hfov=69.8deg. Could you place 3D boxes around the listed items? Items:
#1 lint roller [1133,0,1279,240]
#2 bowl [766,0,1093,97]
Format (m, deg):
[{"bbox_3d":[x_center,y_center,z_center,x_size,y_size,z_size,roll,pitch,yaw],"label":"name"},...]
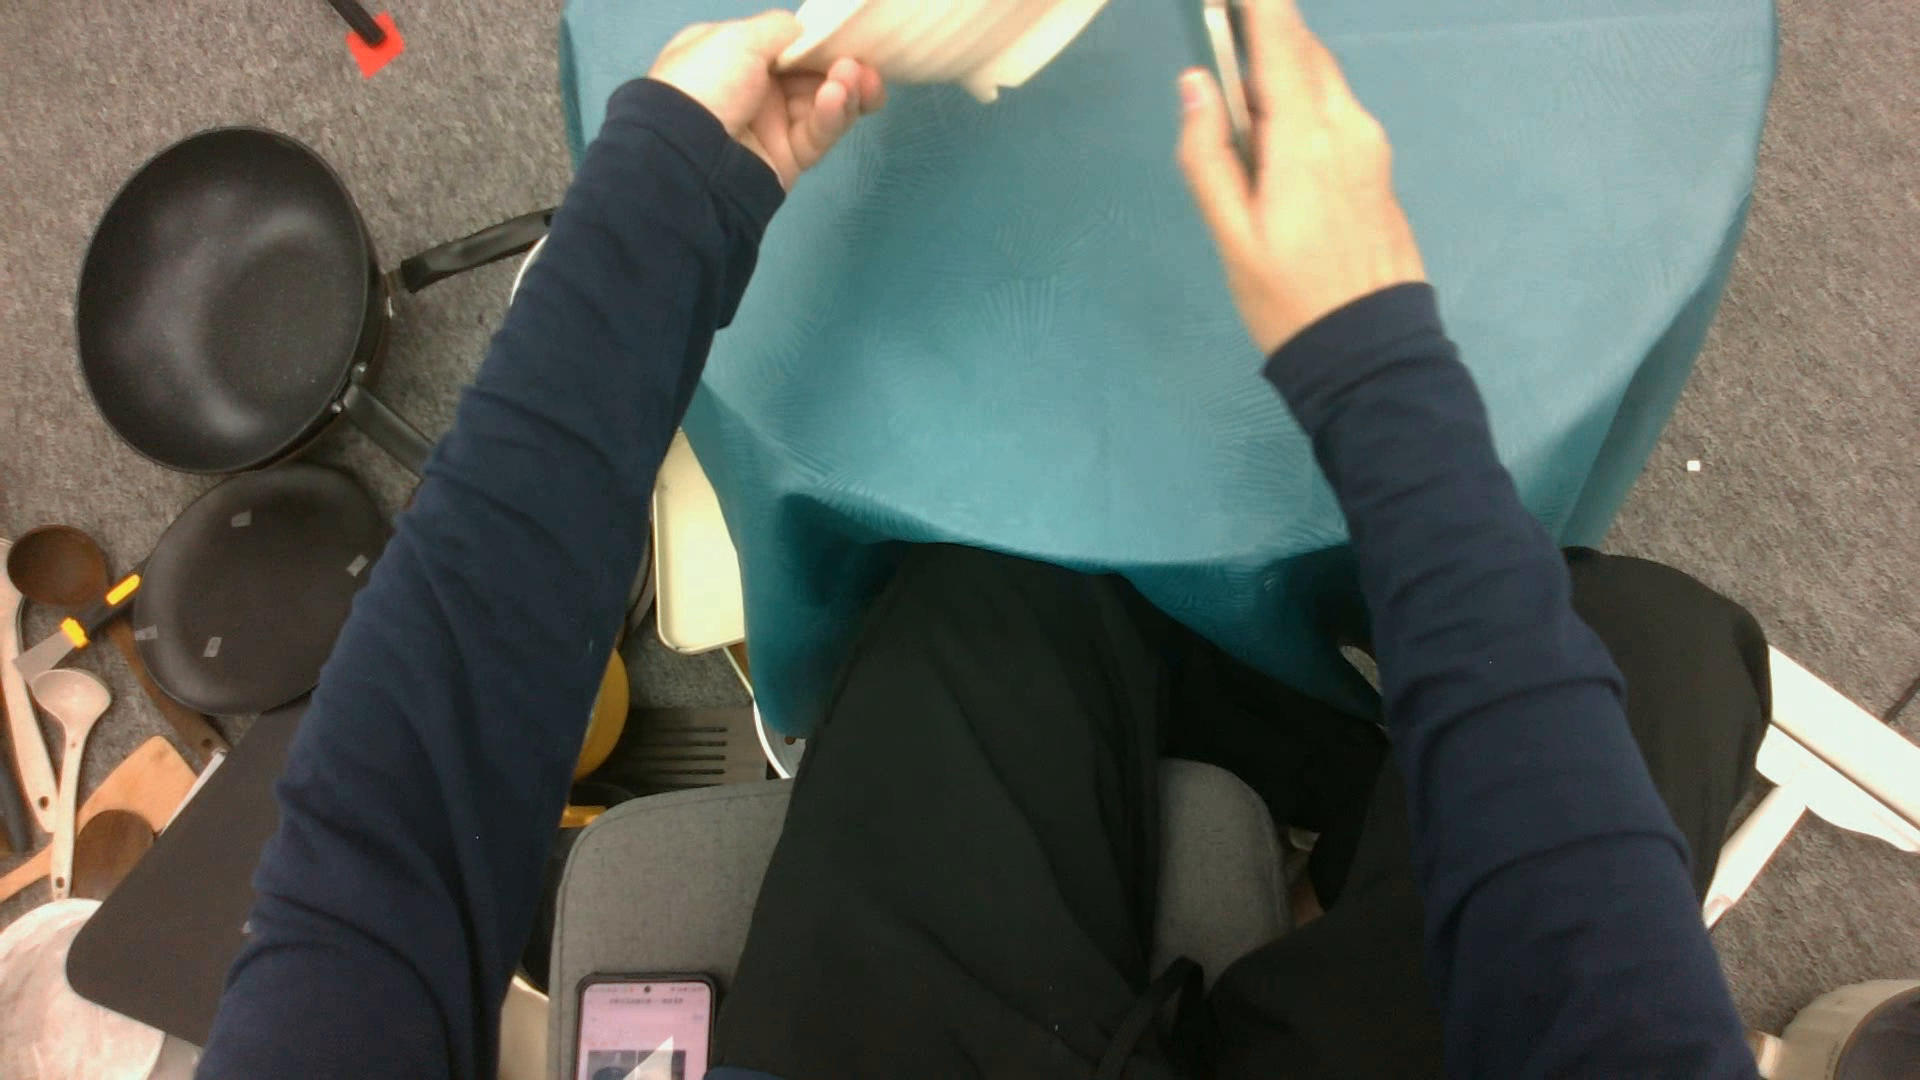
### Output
[{"bbox_3d":[0.083,-0.192,0.499,0.135,0.048,0.180,-42,107,-26],"label":"lint roller"},{"bbox_3d":[0.013,-0.250,0.588,0.078,0.204,0.204,41,81,-21],"label":"bowl"}]
